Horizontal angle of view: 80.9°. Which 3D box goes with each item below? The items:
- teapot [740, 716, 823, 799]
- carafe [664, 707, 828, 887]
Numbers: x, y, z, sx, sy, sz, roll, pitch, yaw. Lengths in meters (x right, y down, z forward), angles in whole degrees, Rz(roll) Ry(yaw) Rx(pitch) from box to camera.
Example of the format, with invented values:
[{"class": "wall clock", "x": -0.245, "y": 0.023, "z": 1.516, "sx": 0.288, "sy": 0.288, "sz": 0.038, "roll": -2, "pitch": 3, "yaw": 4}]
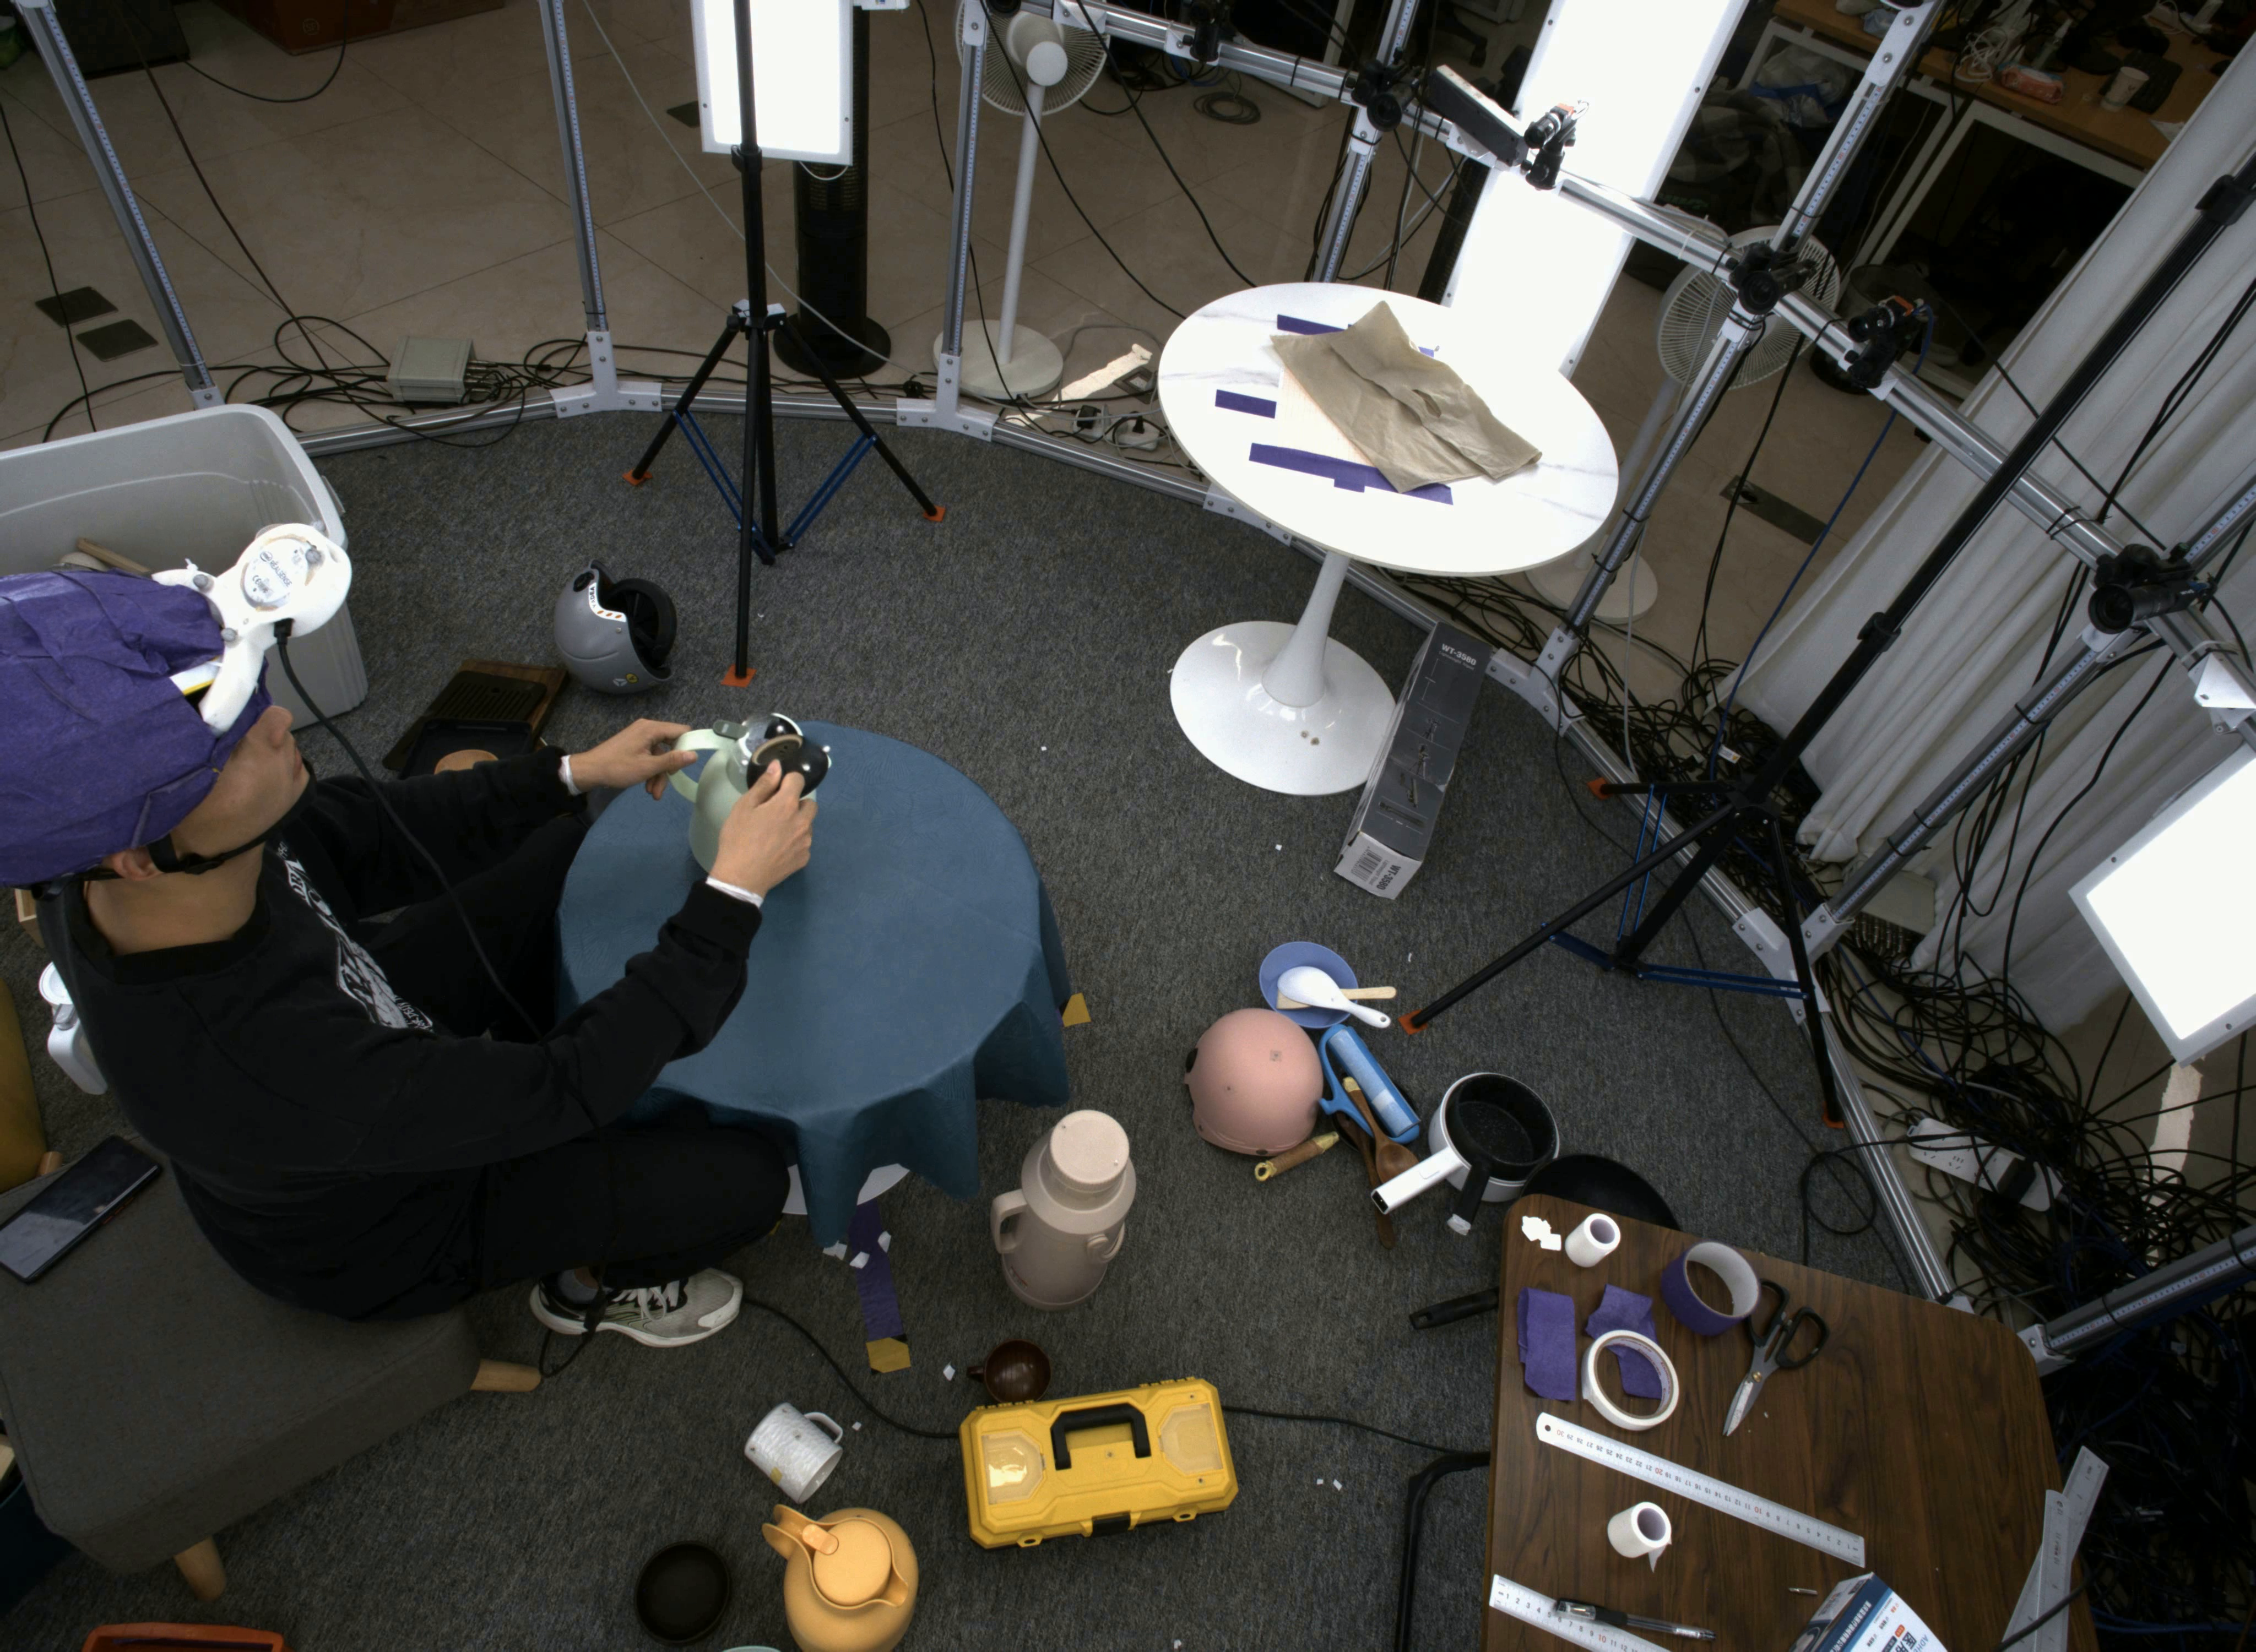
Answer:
[{"class": "teapot", "x": -0.369, "y": -0.068, "z": 1.376, "sx": 0.090, "sy": 0.055, "sz": 0.129, "roll": -19, "pitch": 32, "yaw": -3}, {"class": "carafe", "x": -0.466, "y": -0.046, "z": 1.567, "sx": 0.188, "sy": 0.259, "sz": 0.142, "roll": 9, "pitch": 58, "yaw": -15}]
